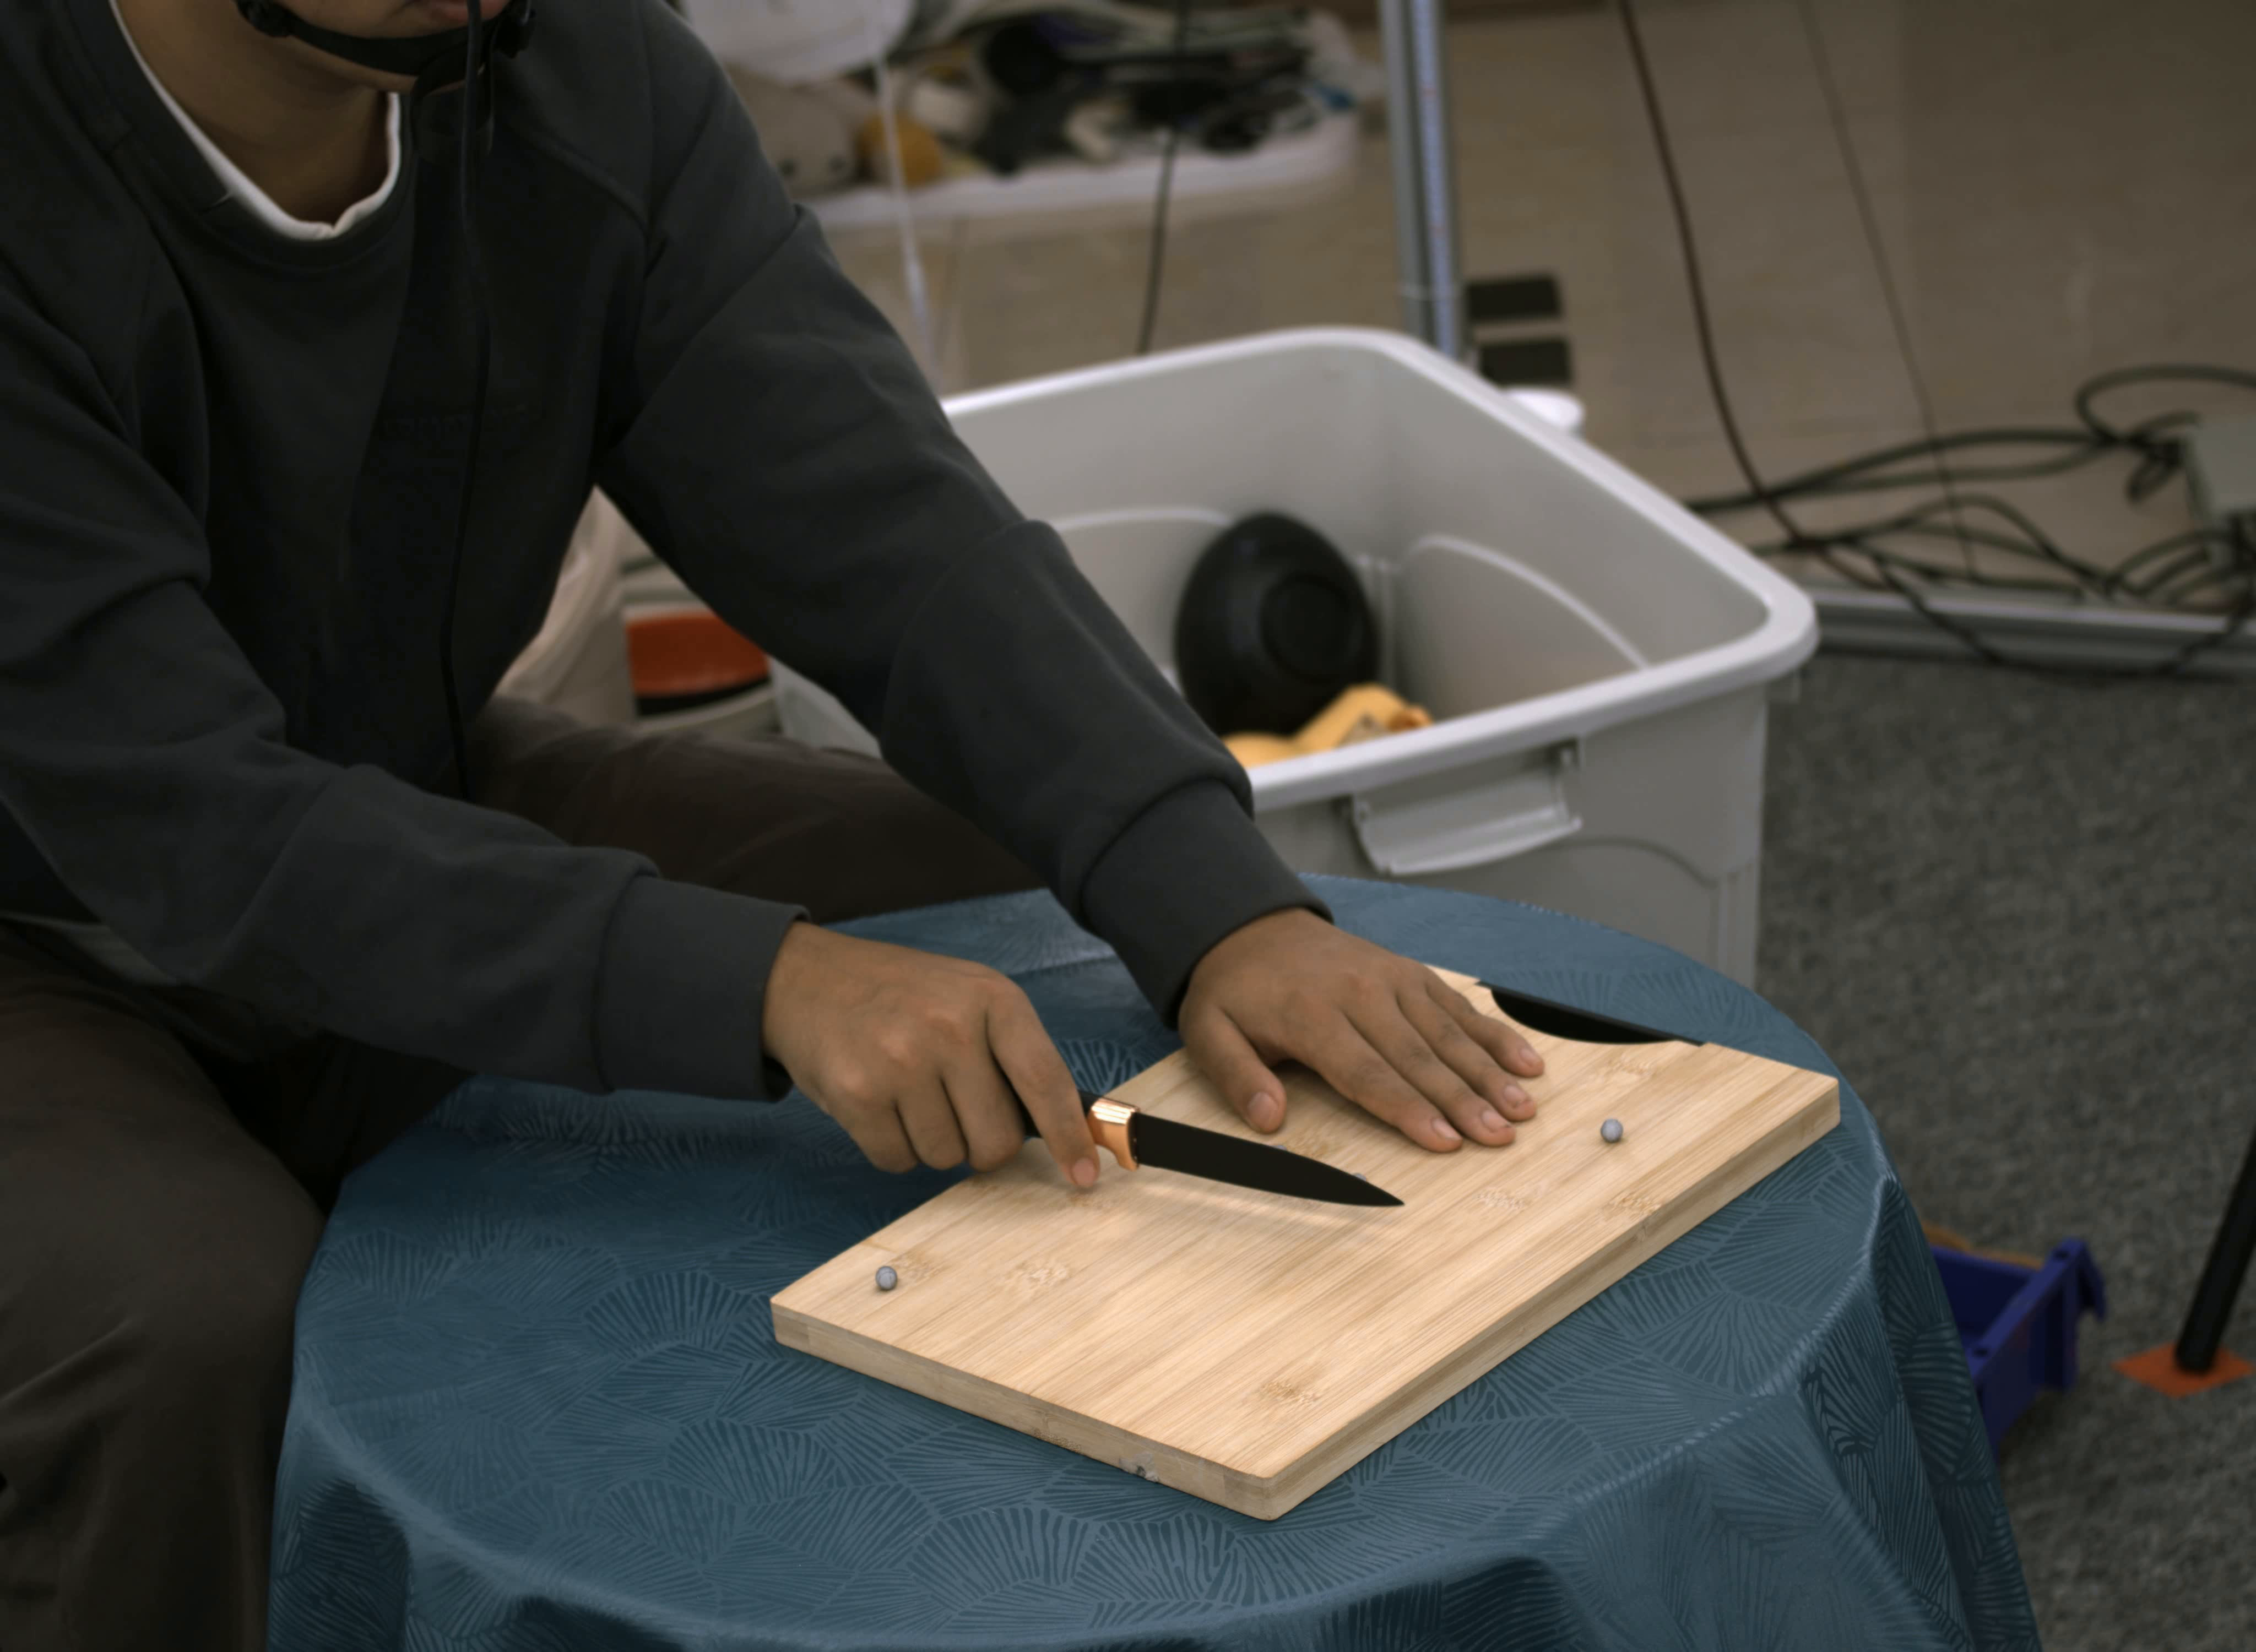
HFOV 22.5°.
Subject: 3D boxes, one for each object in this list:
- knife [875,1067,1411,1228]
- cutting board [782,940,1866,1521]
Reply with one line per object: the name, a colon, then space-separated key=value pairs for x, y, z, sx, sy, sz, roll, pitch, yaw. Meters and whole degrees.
knife: x=0.004 y=0.119 z=2.105 sx=0.224 sy=0.026 sz=0.017 roll=11 pitch=29 yaw=26
cutting board: x=0.074 y=0.141 z=2.106 sx=0.249 sy=0.024 sz=0.345 roll=15 pitch=32 yaw=39
